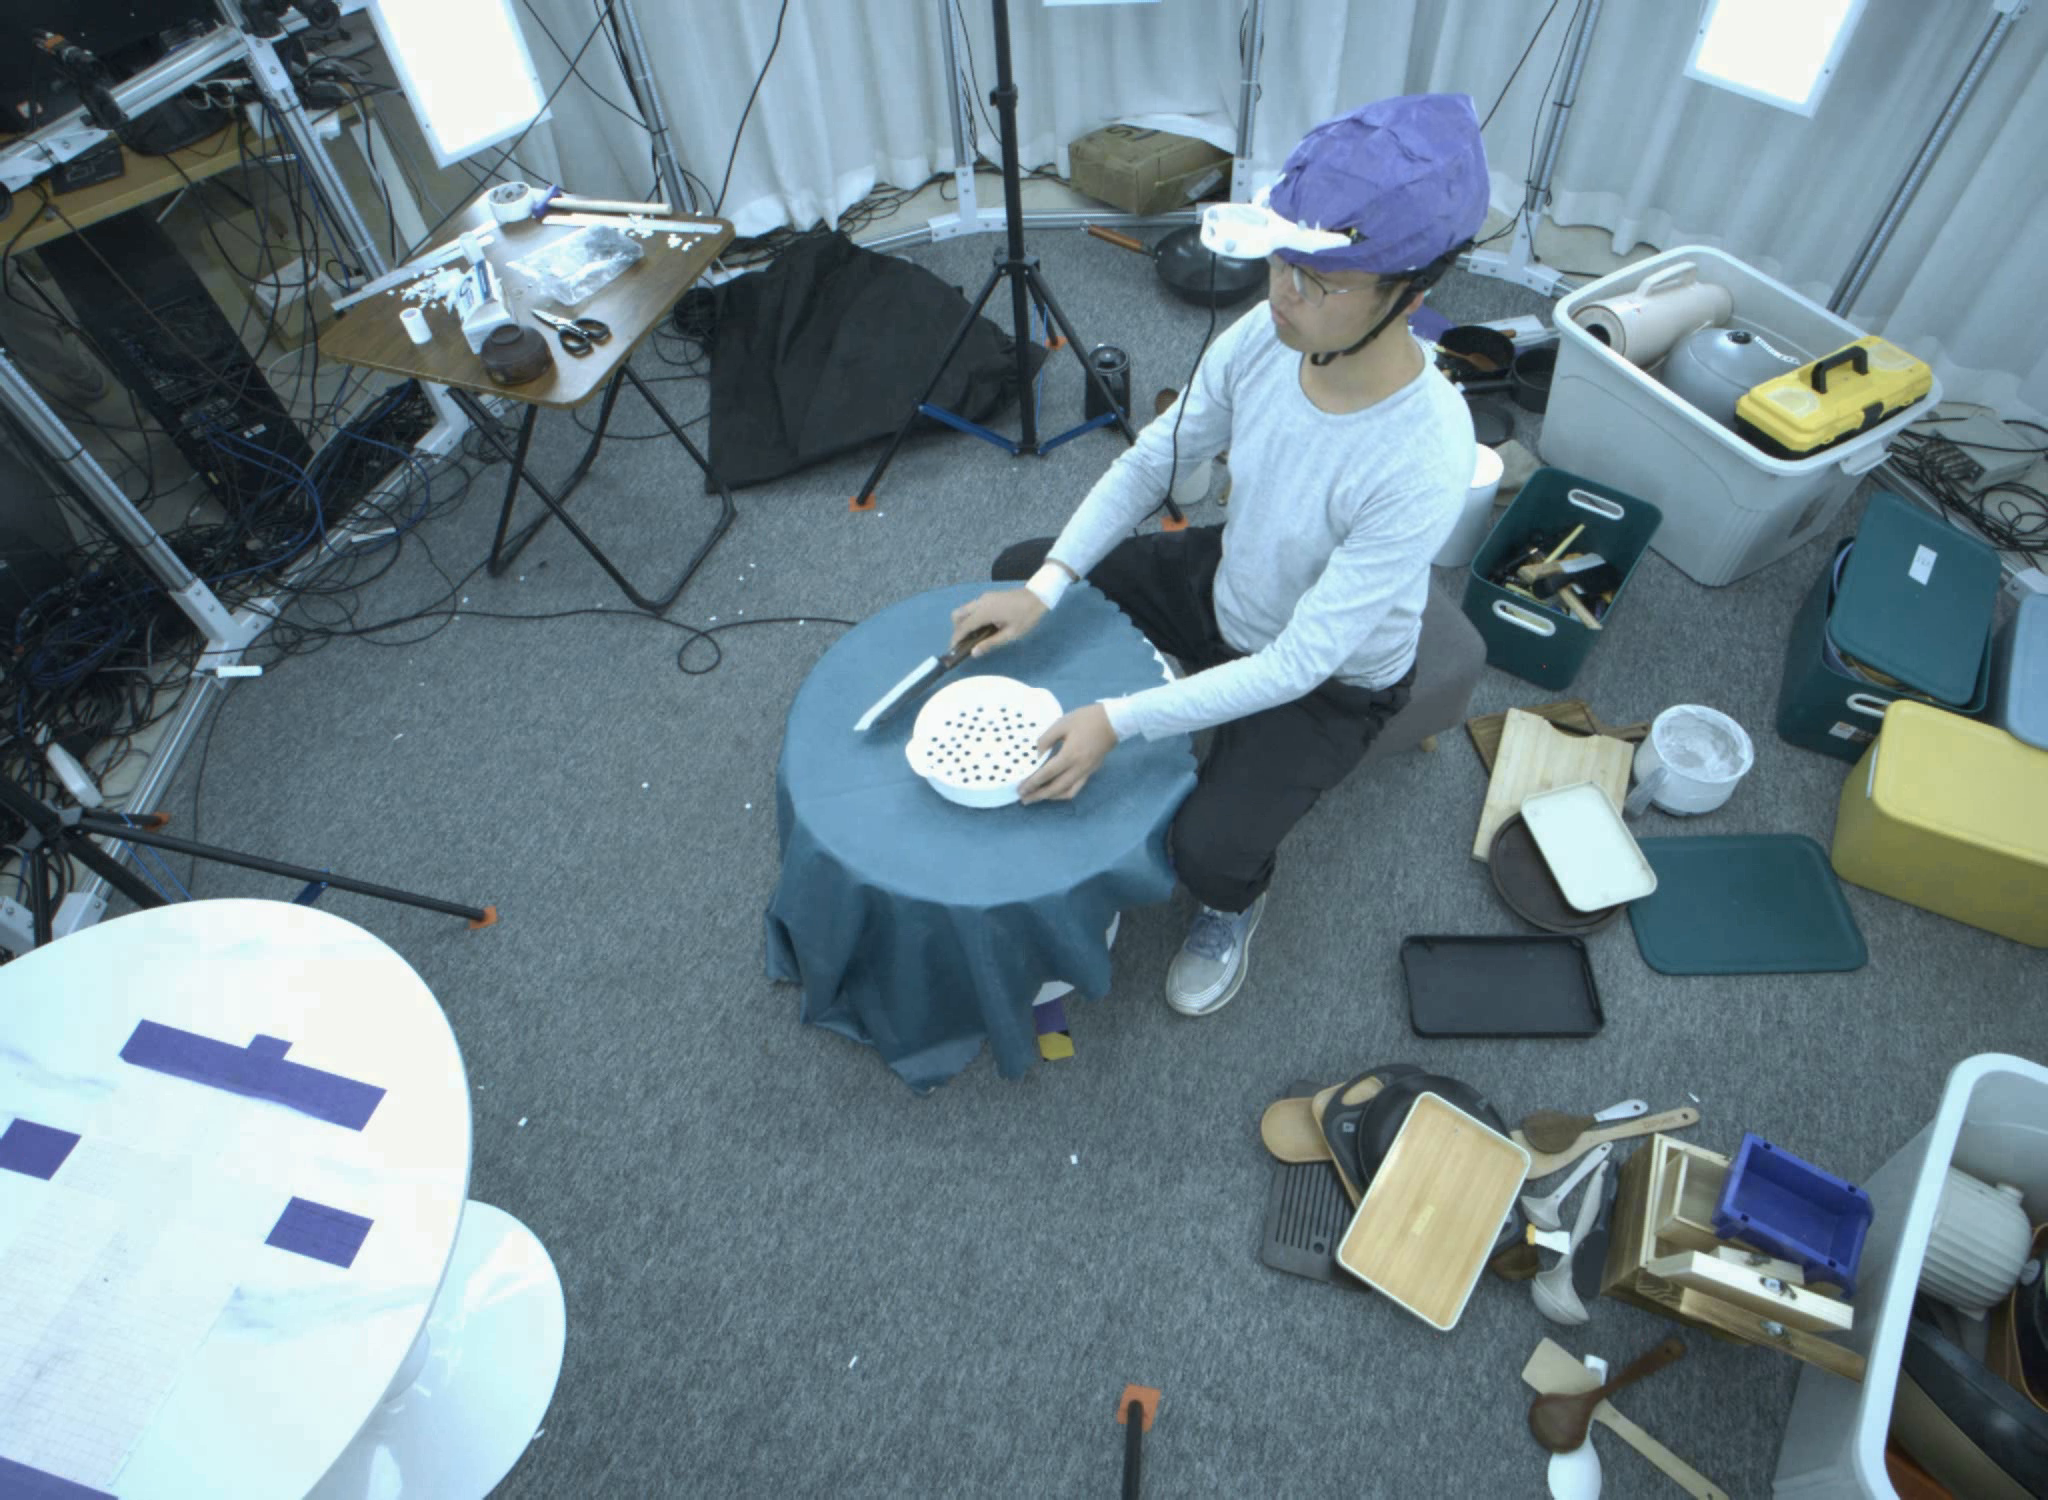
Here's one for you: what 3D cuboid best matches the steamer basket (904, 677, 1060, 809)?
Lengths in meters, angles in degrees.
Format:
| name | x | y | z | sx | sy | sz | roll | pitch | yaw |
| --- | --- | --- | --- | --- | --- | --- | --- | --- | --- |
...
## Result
| name | x | y | z | sx | sy | sz | roll | pitch | yaw |
| --- | --- | --- | --- | --- | --- | --- | --- | --- | --- |
| steamer basket | -0.059 | -0.008 | 1.761 | 0.232 | 0.070 | 0.198 | -23 | 58 | -15 |

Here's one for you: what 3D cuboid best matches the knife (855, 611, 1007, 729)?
| name | x | y | z | sx | sy | sz | roll | pitch | yaw |
| --- | --- | --- | --- | --- | --- | --- | --- | --- | --- |
| knife | -0.138 | -0.119 | 1.828 | 0.290 | 0.020 | 0.049 | -39 | 49 | -16 |
